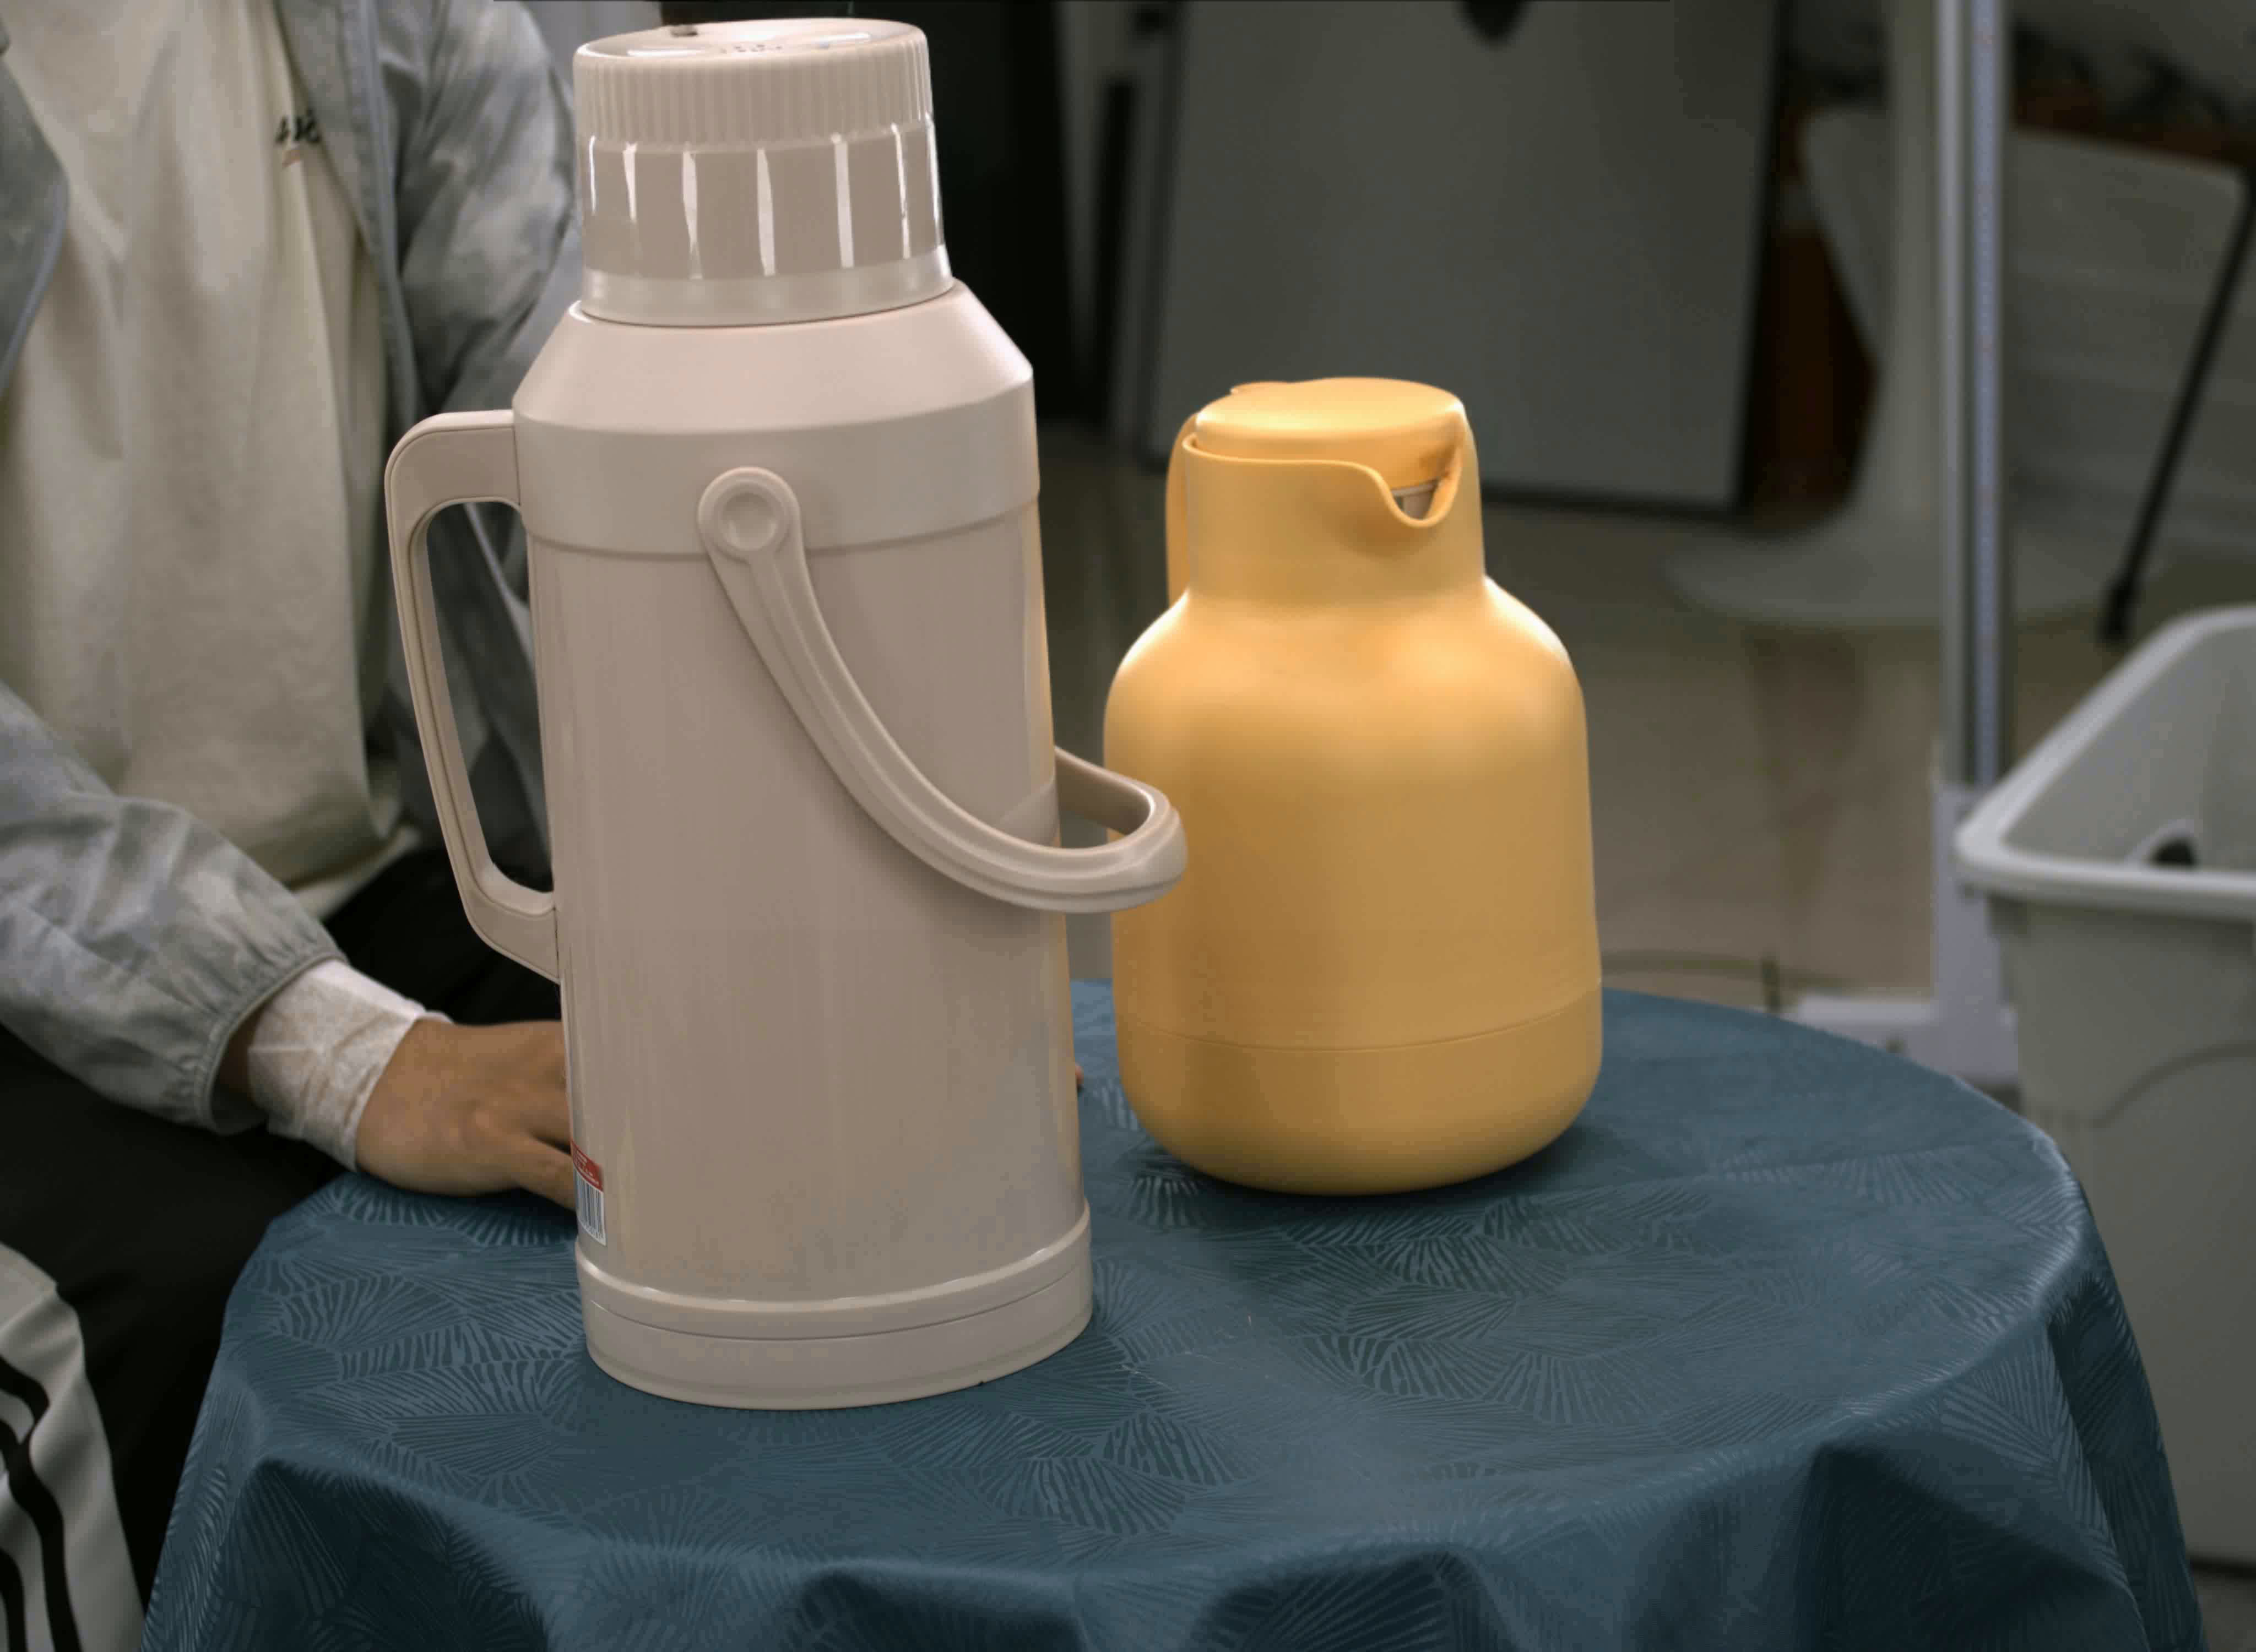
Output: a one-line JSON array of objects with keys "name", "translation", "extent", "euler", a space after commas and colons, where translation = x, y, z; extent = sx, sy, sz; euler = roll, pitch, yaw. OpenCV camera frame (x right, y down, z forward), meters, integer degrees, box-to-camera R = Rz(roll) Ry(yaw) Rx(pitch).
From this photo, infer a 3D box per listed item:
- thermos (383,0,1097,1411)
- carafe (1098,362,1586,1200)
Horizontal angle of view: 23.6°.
[{"name": "thermos", "translation": [-0.114, -0.039, 1.623], "extent": [0.205, 0.411, 0.175], "euler": [-2, 14, 4]}, {"name": "carafe", "translation": [0.064, -0.023, 1.791], "extent": [0.160, 0.263, 0.204], "euler": [-5, 15, -18]}]
